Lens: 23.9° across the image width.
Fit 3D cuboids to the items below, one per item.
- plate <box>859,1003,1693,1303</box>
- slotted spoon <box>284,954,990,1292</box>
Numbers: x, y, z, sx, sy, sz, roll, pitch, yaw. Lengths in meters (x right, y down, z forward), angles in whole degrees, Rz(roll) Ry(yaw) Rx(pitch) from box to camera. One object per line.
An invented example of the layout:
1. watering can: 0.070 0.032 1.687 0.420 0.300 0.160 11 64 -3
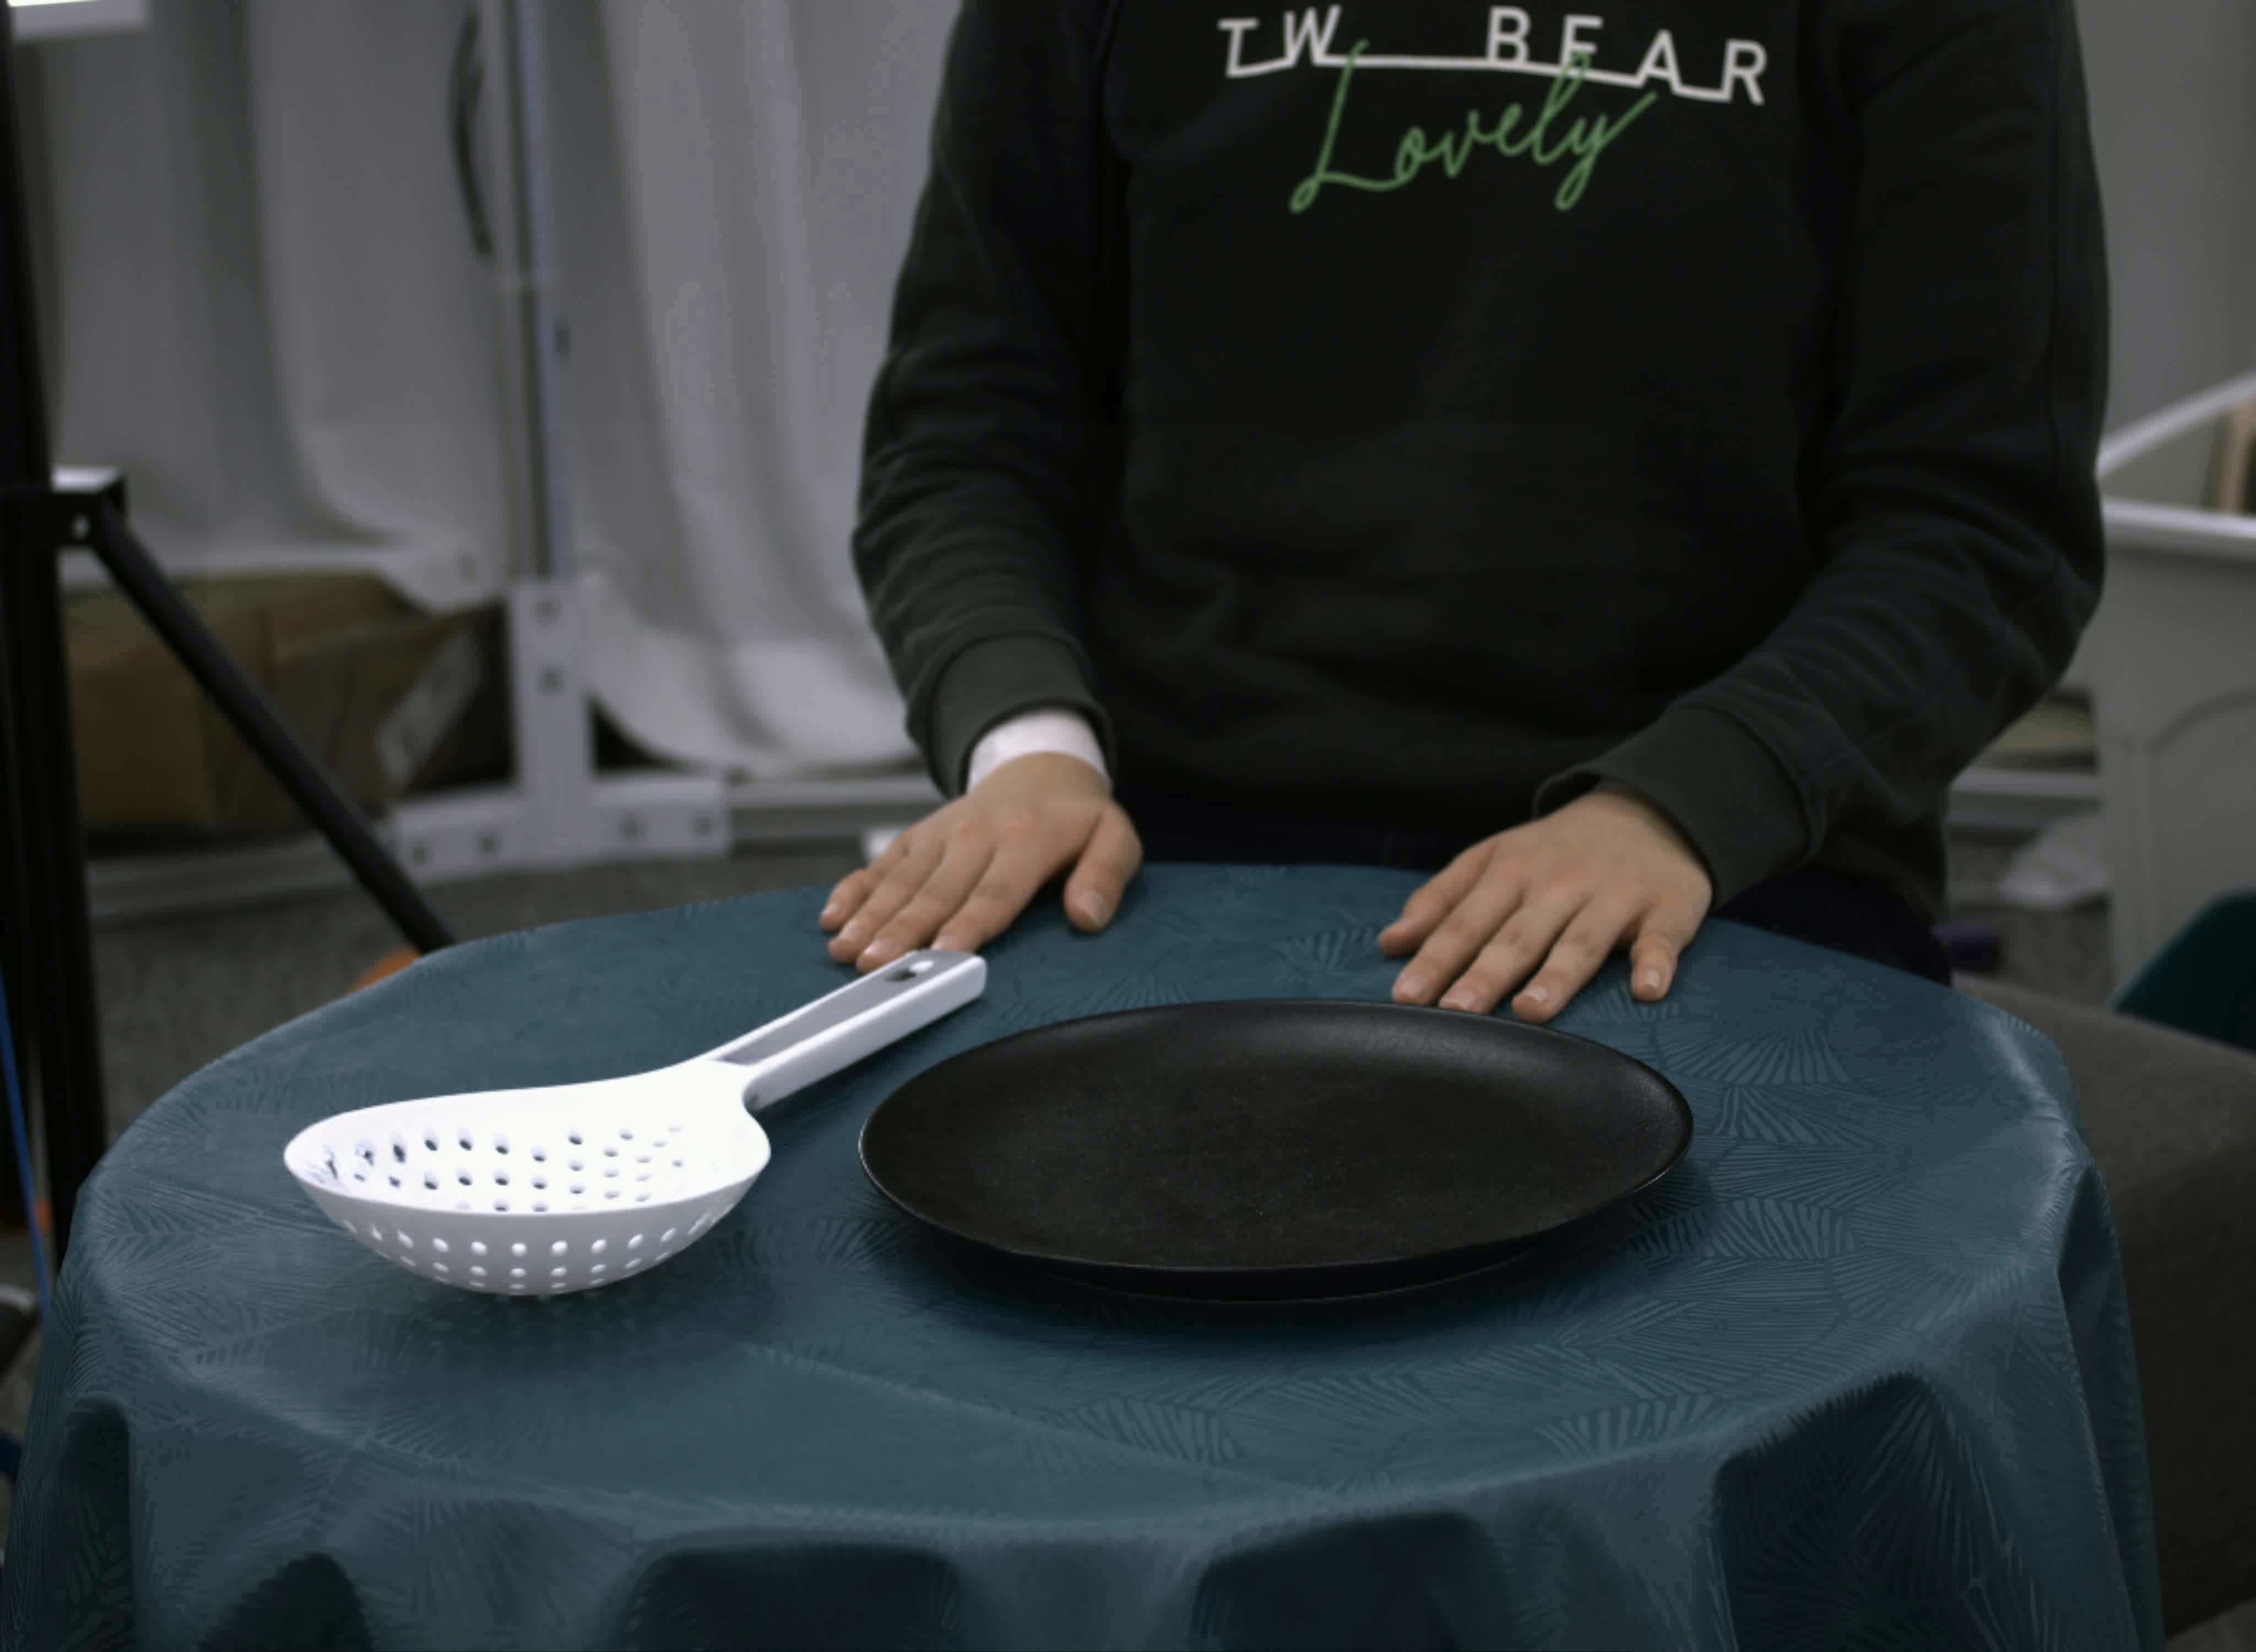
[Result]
1. plate: 0.043 0.097 1.546 0.243 0.023 0.245 -3 15 -1
2. slotted spoon: -0.126 0.079 1.597 0.138 0.046 0.344 7 17 23
